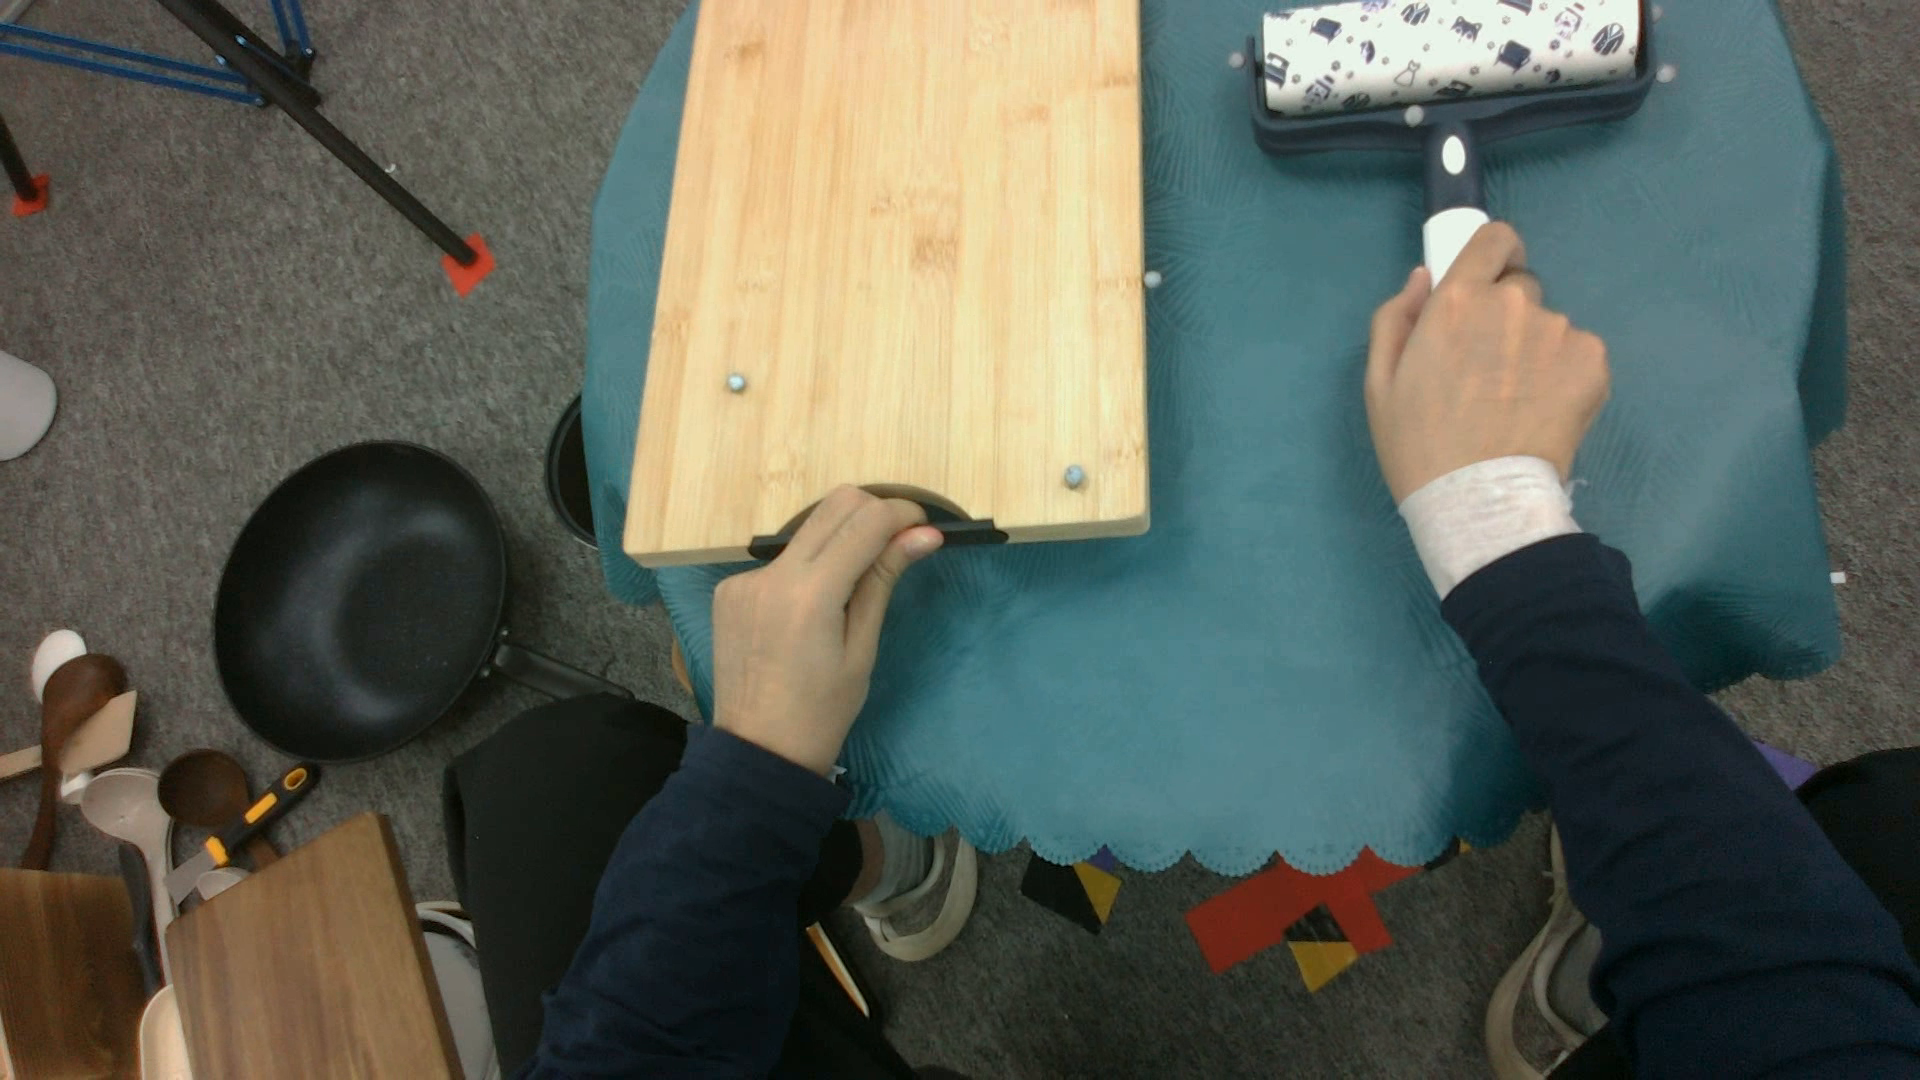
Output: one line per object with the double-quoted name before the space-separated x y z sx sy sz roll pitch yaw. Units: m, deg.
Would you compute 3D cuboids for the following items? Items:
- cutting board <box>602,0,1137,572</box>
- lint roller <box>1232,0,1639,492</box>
"cutting board" -0.037 -0.153 0.675 0.250 0.023 0.350 -5 66 13
"lint roller" 0.205 -0.143 0.607 0.176 0.050 0.247 2 74 16
